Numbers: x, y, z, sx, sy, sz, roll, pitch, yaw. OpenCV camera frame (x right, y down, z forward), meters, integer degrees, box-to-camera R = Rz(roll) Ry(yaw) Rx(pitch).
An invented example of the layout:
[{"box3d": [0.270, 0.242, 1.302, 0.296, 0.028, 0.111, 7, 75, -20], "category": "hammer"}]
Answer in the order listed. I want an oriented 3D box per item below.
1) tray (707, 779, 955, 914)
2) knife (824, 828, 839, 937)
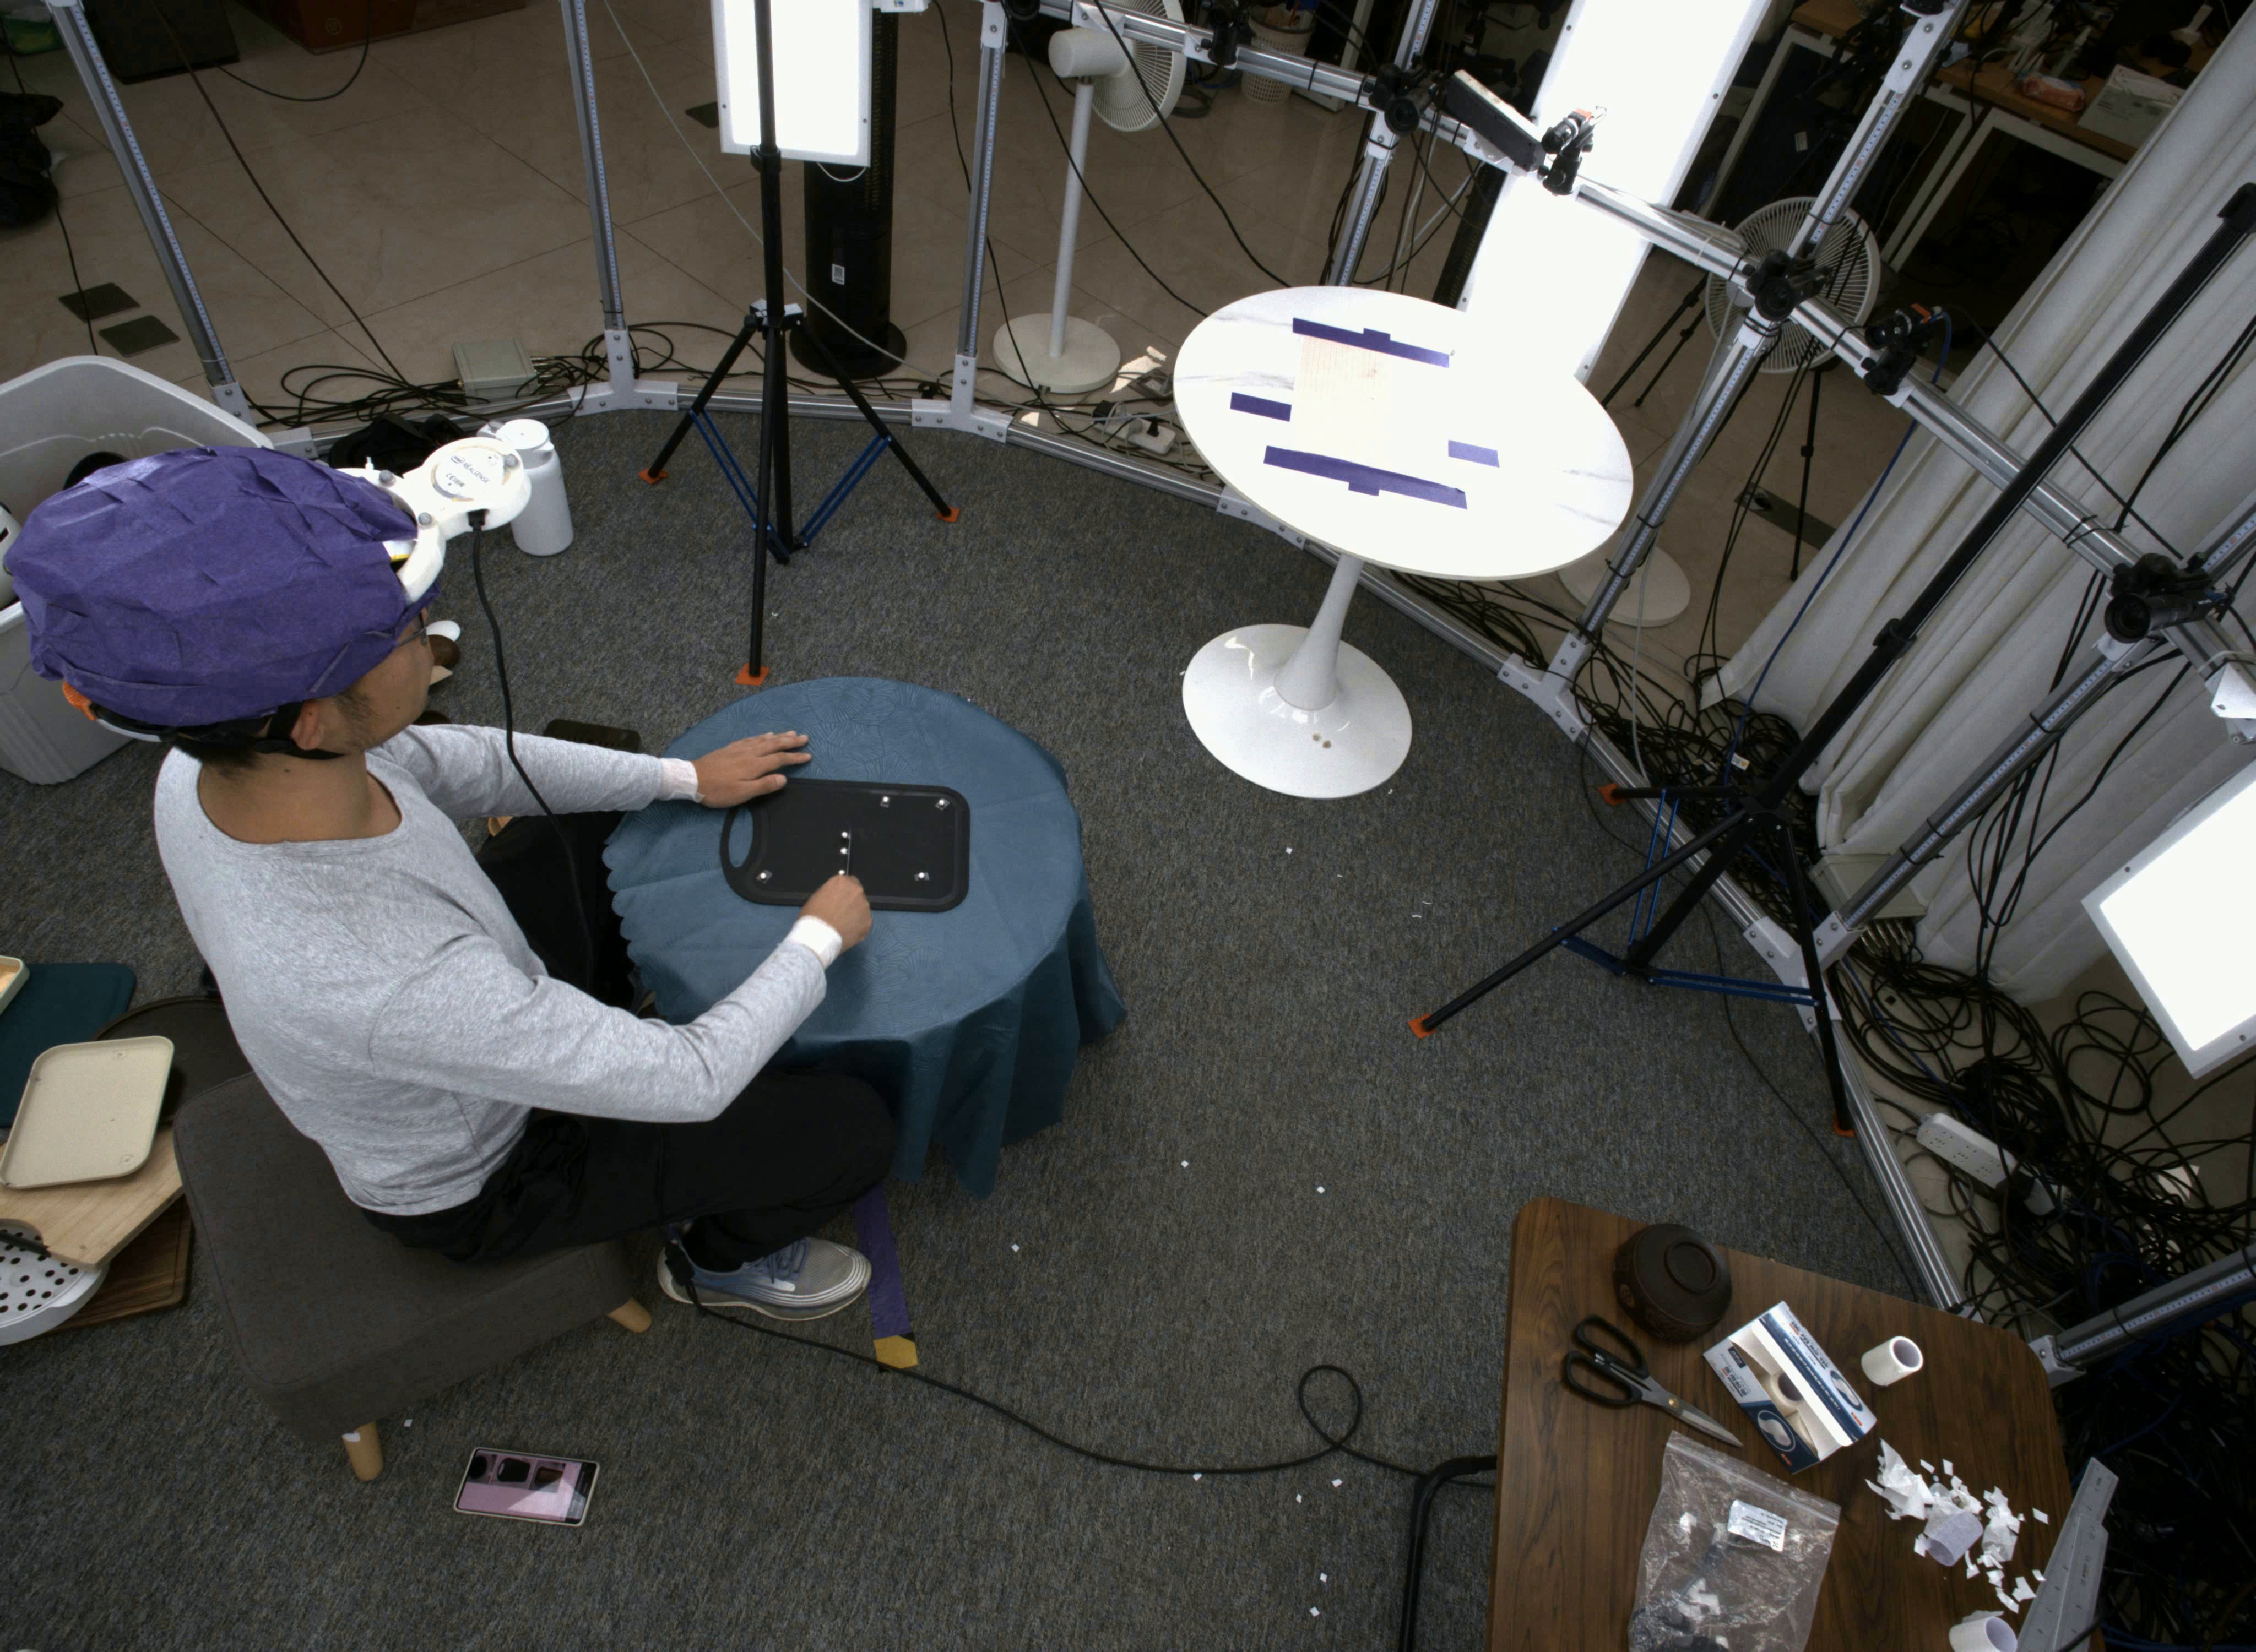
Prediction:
[{"box3d": [-0.392, 0.023, 1.722, 0.325, 0.010, 0.207, 3, 53, -12], "category": "tray"}, {"box3d": [-0.375, 0.061, 1.646, 0.016, 0.025, 0.231, 13, 29, -18], "category": "knife"}]
